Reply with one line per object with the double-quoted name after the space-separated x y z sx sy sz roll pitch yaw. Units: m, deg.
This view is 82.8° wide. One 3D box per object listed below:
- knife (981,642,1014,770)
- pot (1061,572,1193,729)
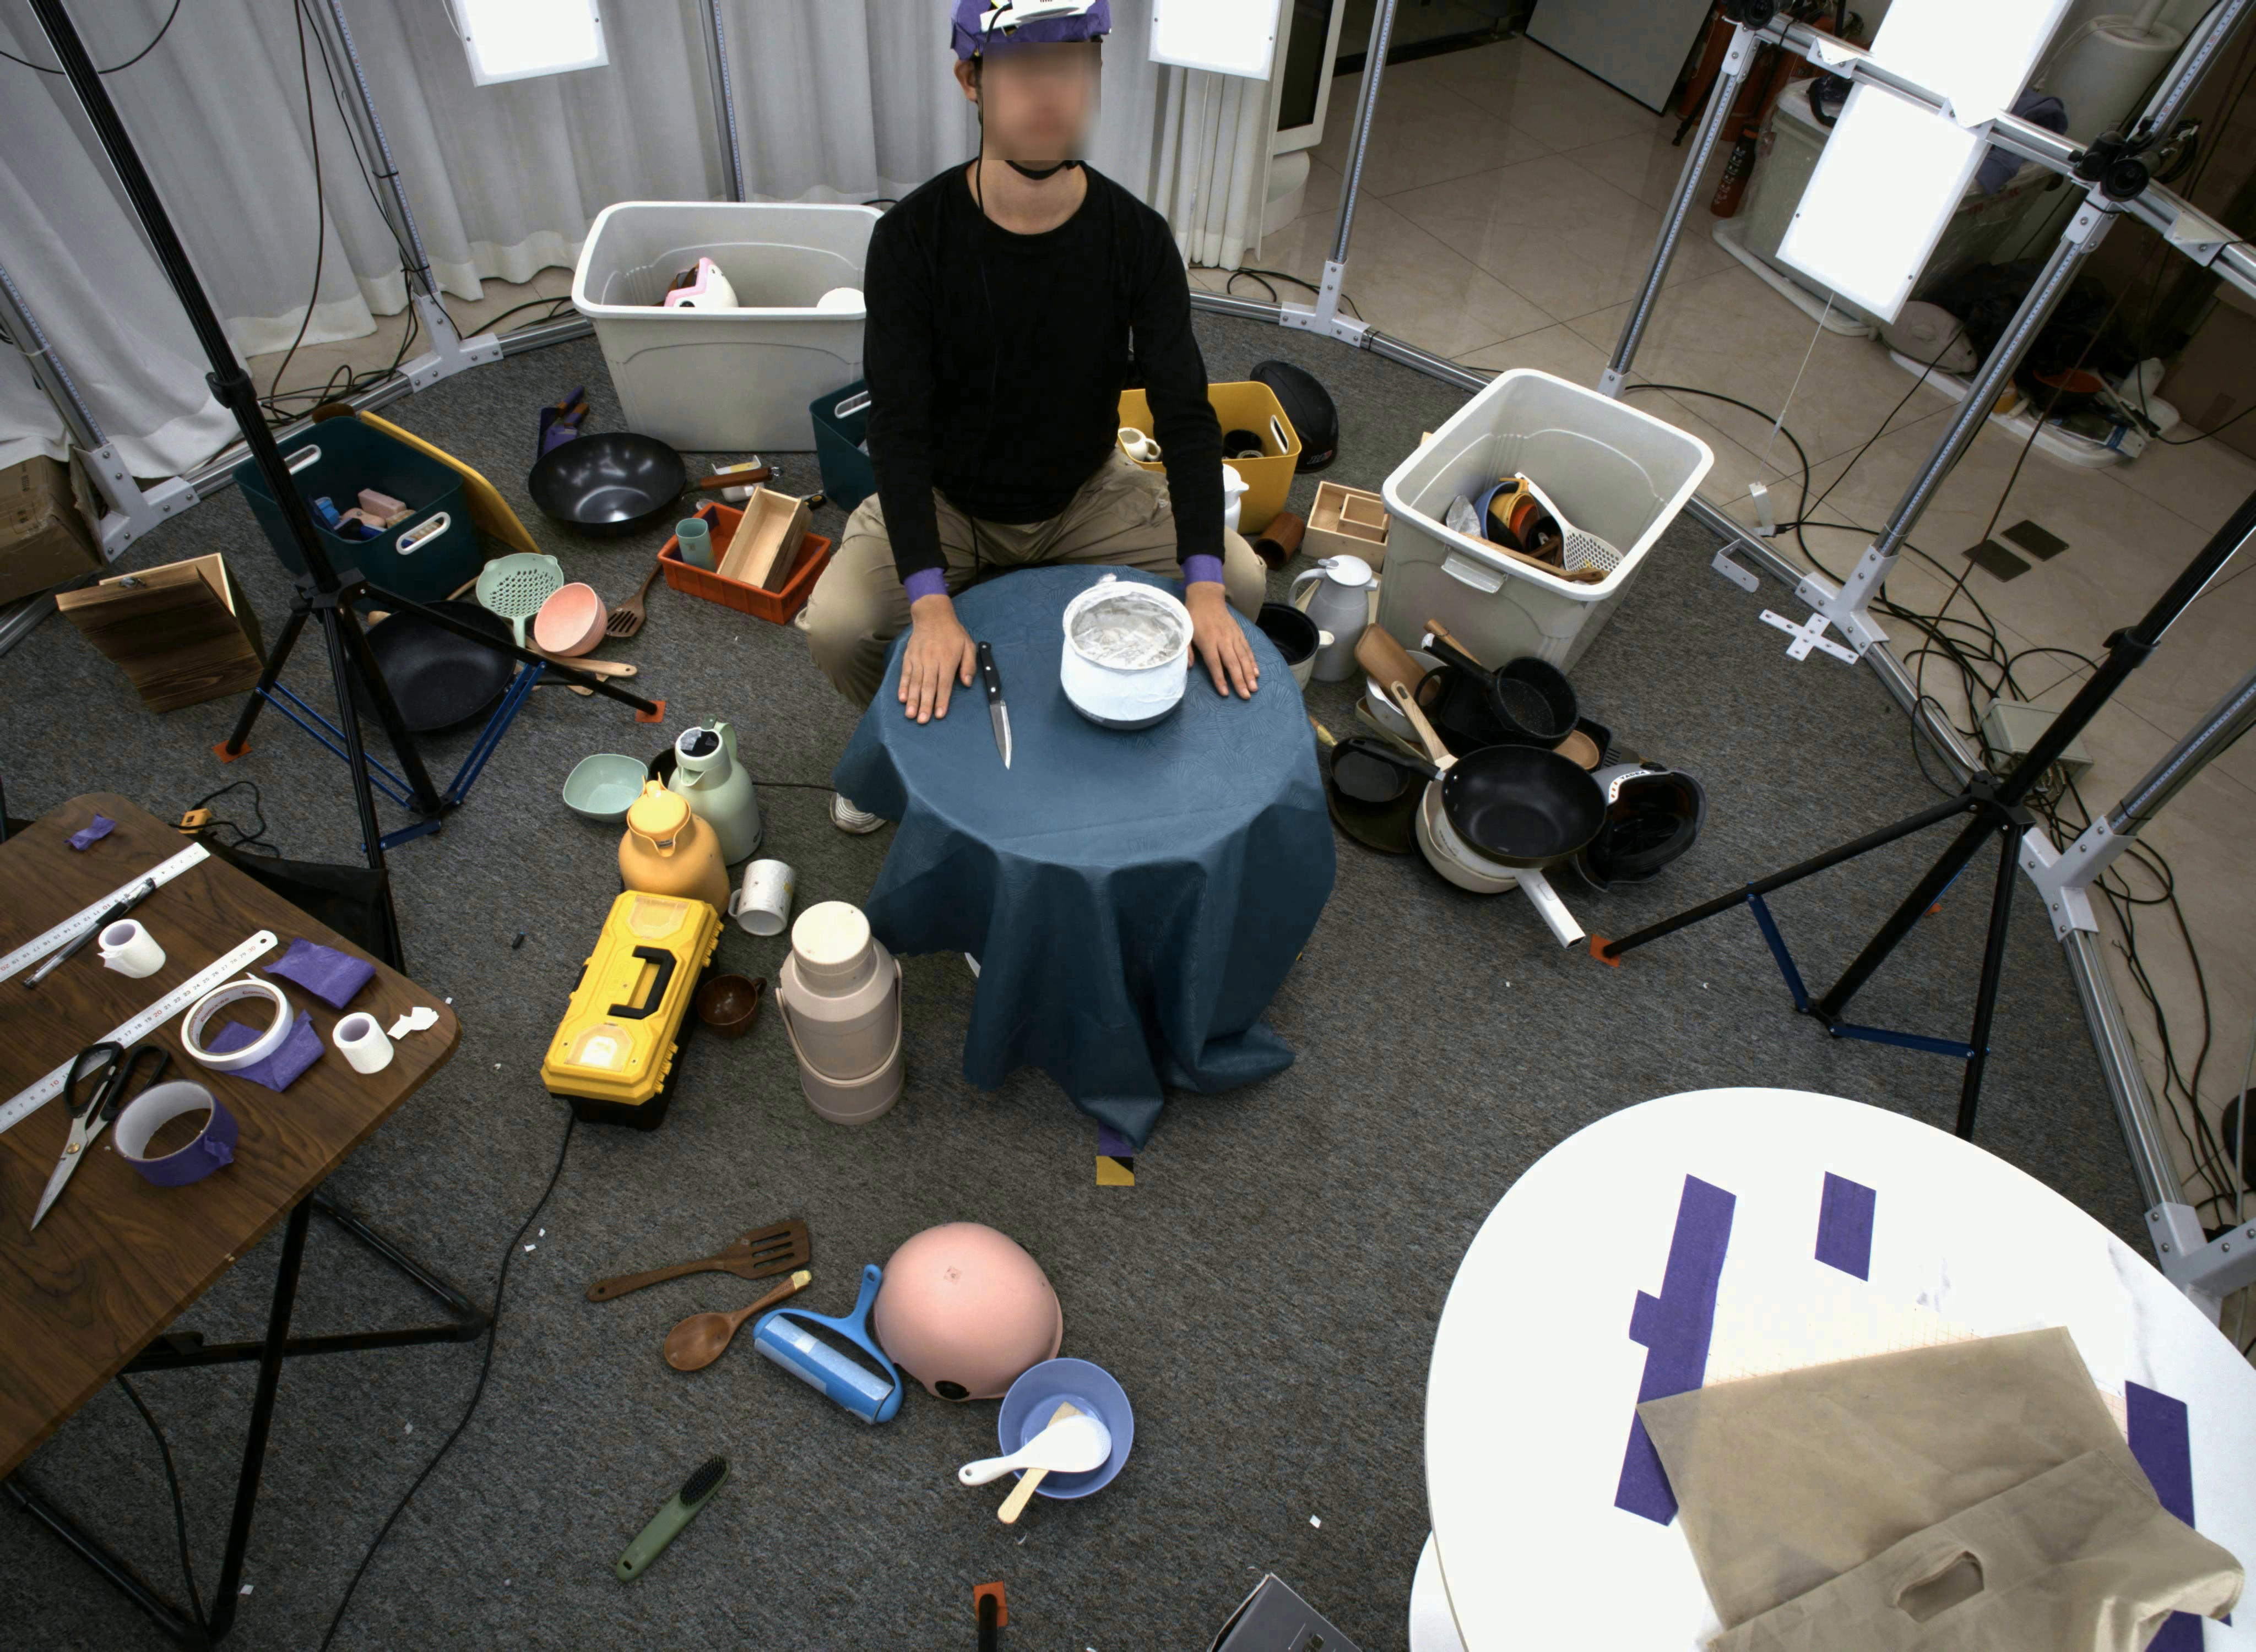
-0.183 -0.170 1.798 0.024 0.016 0.244 -5 52 -12 "knife"
-0.012 -0.255 1.798 0.178 0.133 0.239 -9 52 -13 "pot"
